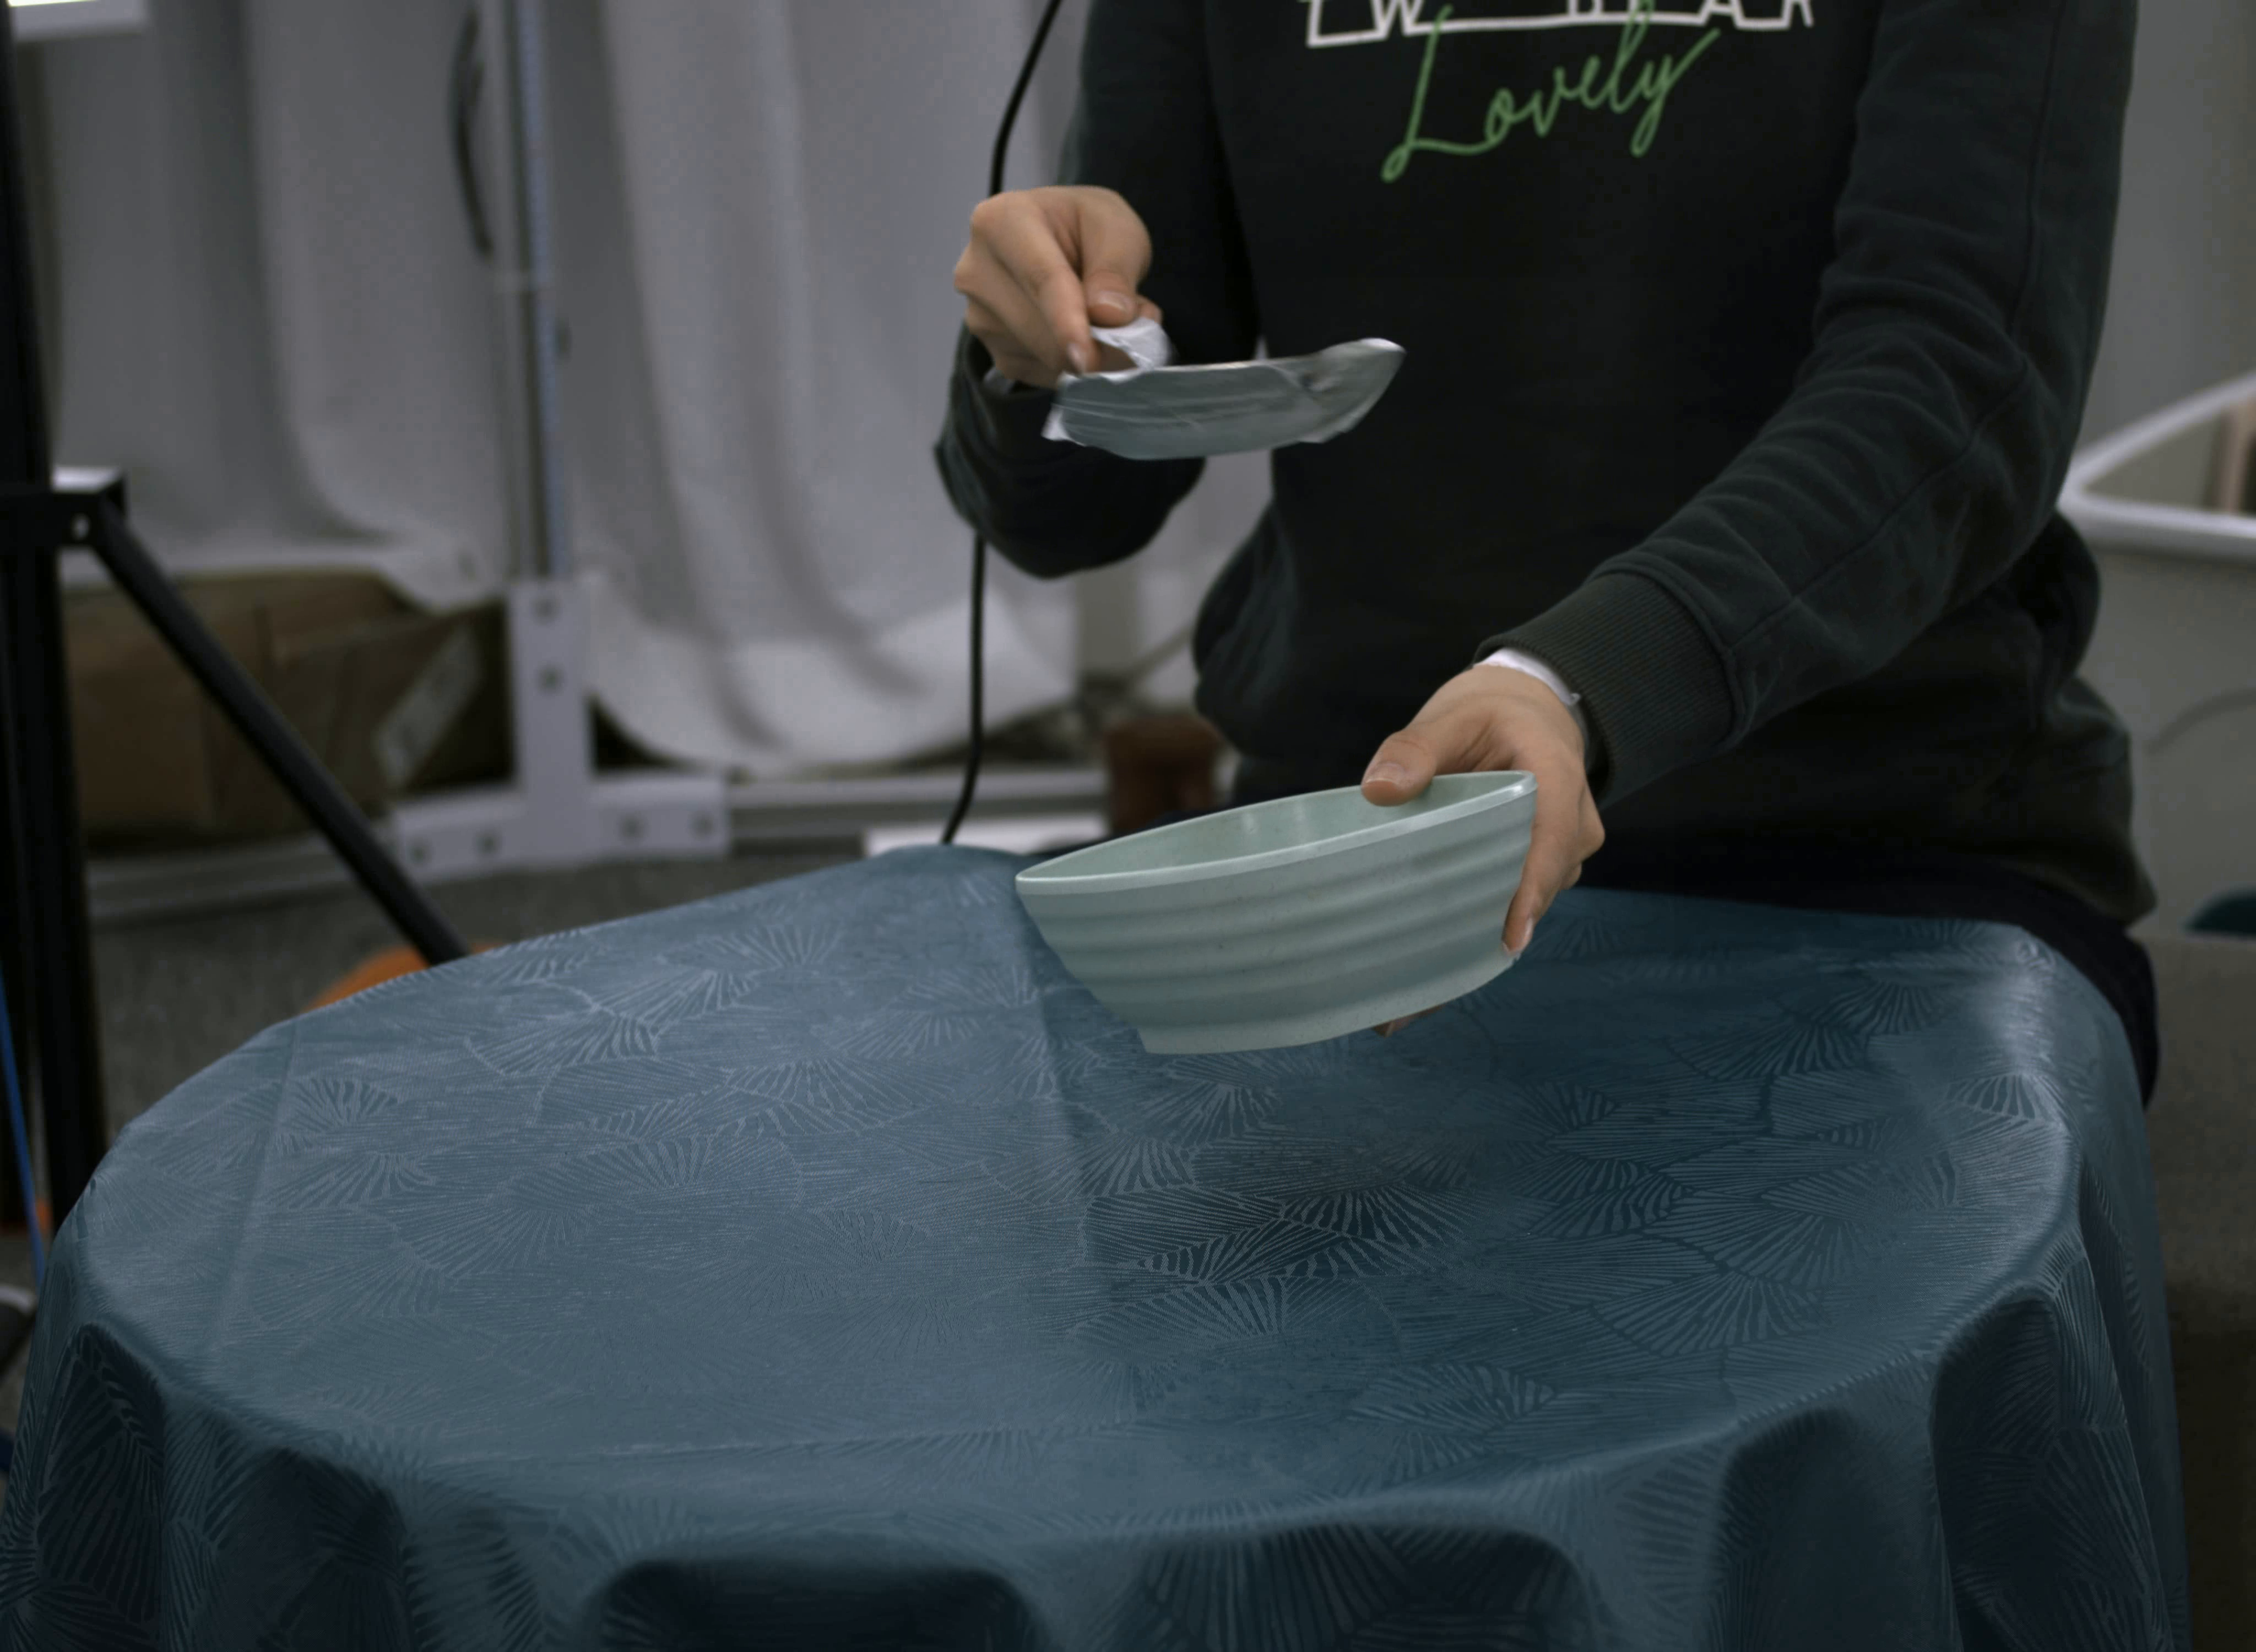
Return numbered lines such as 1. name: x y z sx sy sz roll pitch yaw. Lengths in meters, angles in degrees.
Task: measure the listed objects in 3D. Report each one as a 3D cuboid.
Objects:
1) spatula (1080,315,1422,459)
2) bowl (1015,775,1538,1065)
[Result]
1. spatula: 0.016 -0.148 1.647 0.098 0.045 0.368 -9 13 -5
2. bowl: 0.047 0.029 1.509 0.151 0.059 0.152 -11 7 0
